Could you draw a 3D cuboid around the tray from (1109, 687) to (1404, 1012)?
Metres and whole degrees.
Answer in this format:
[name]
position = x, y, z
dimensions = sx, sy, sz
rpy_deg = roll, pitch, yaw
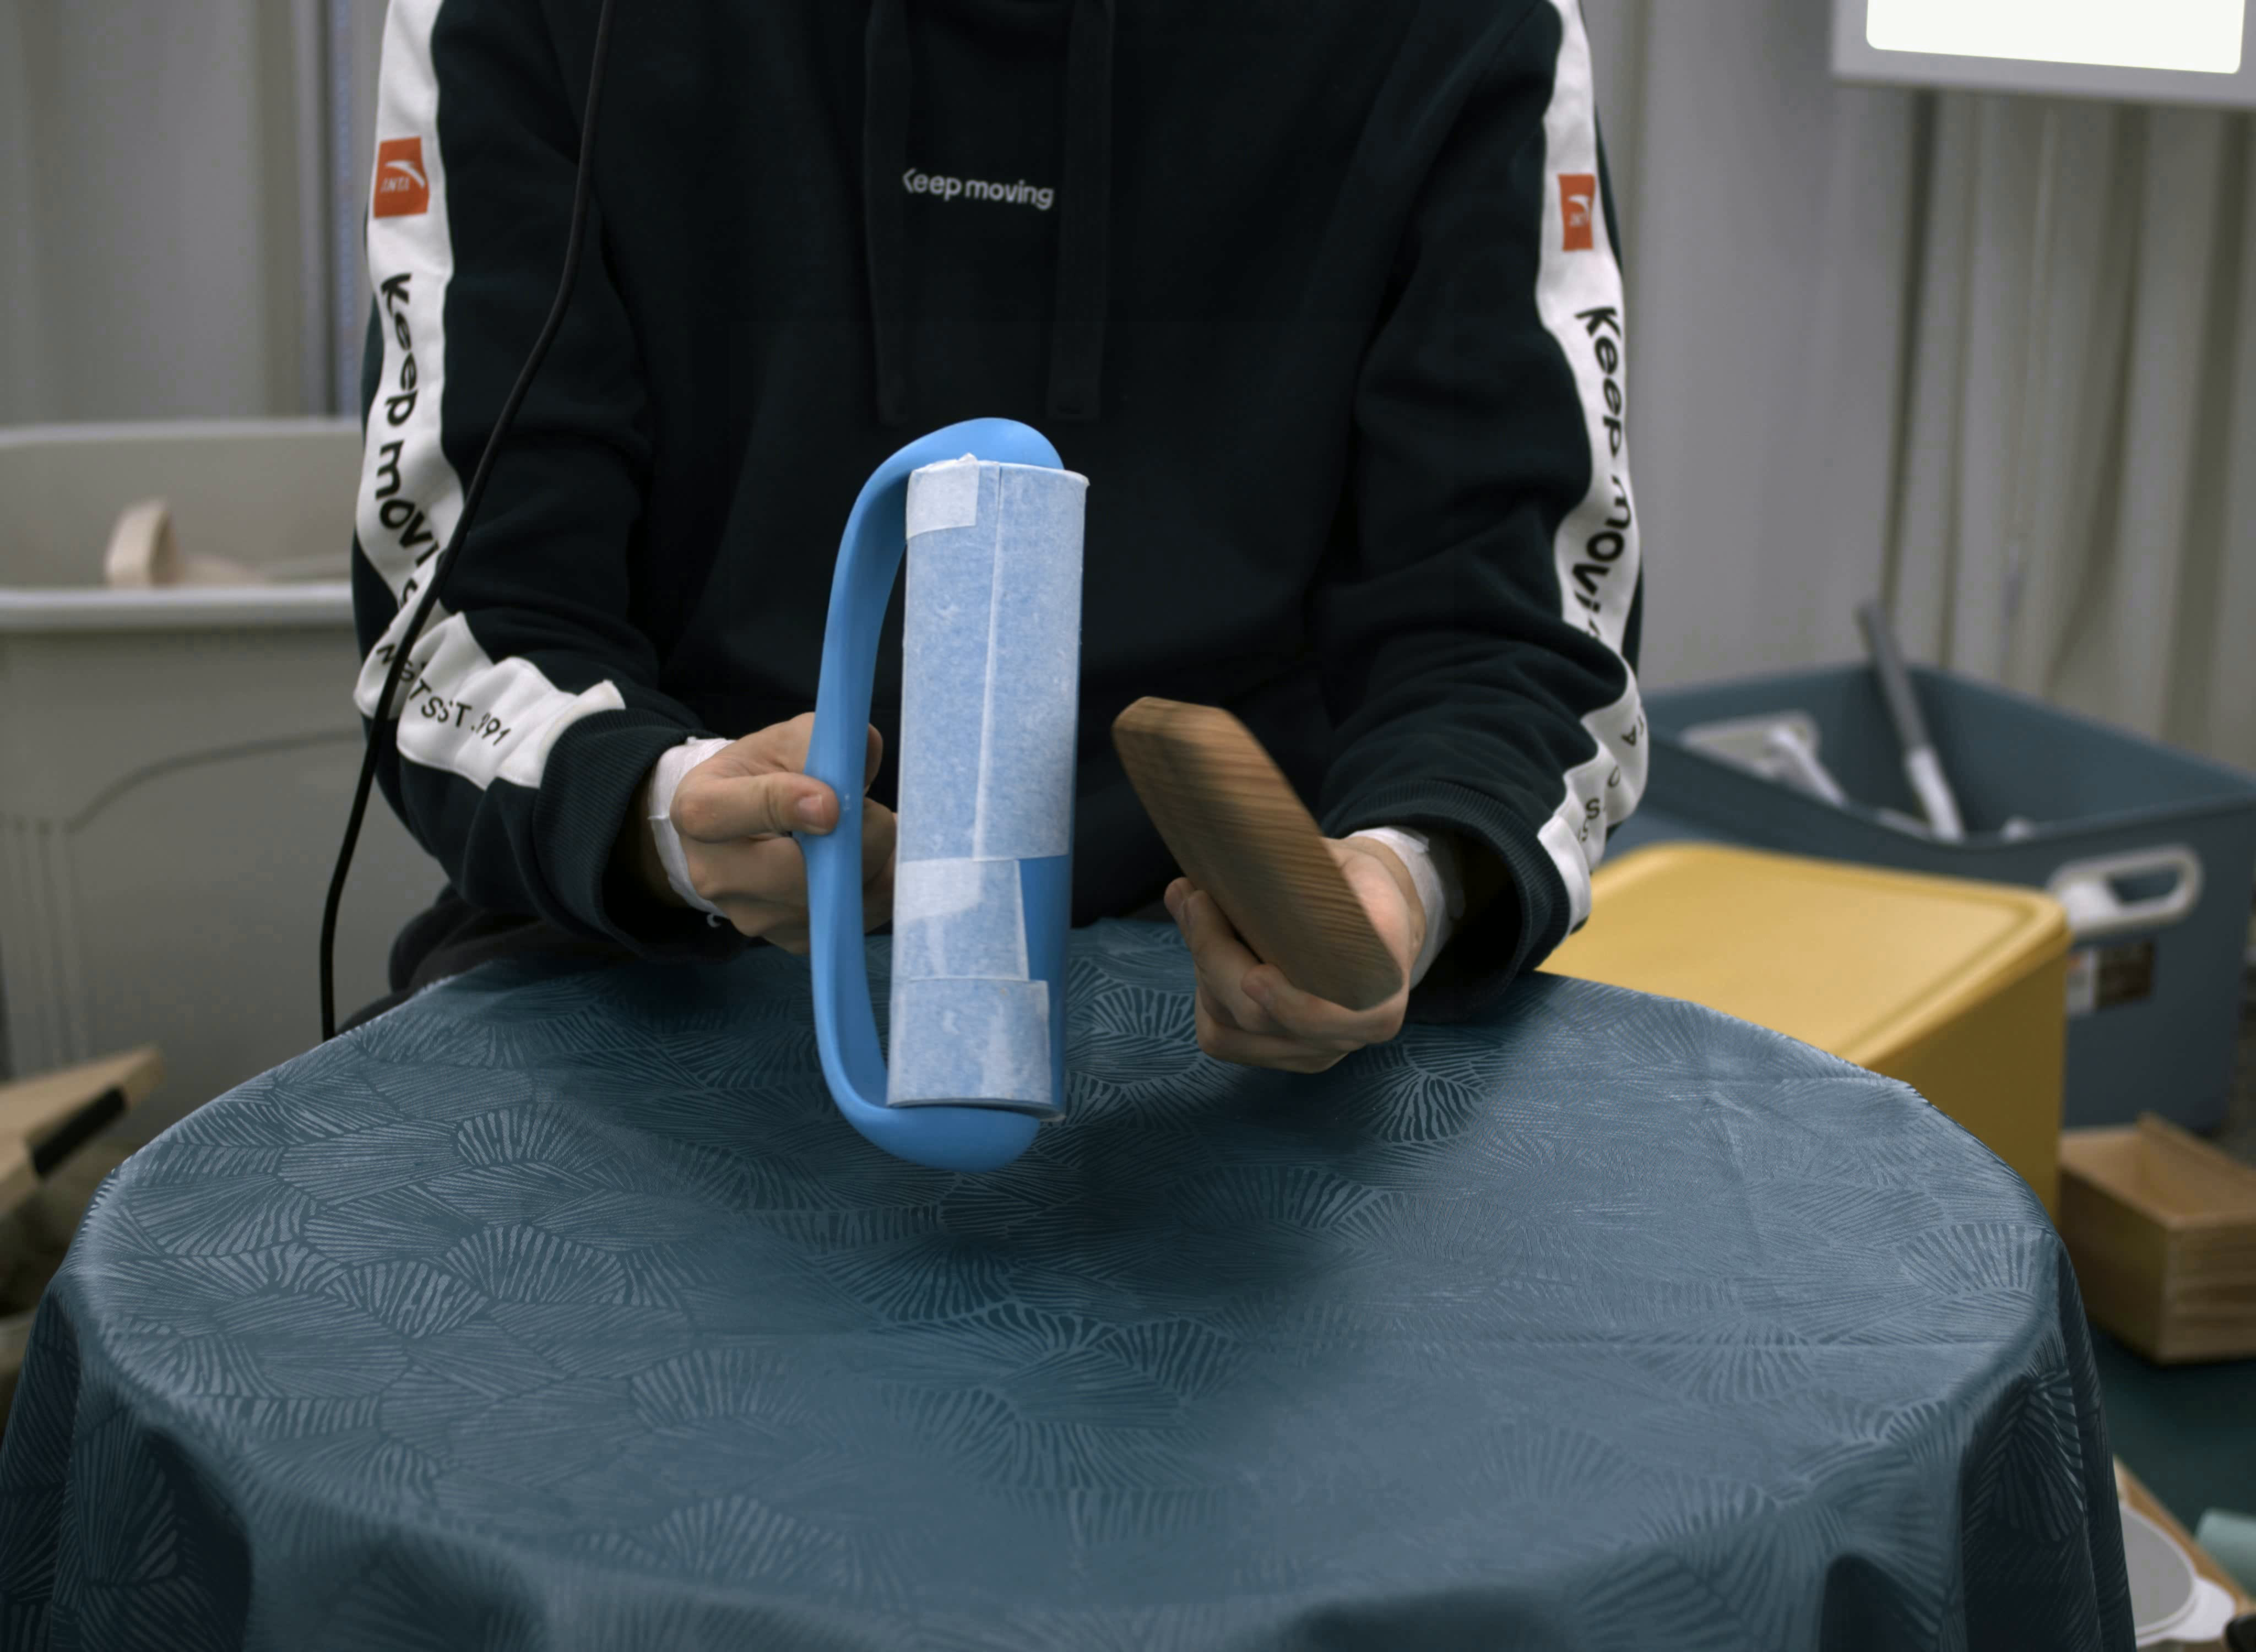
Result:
[tray]
position = 0.036, 0.006, 1.601
dimensions = 0.020, 0.102, 0.230
rpy_deg = -30, 8, -8

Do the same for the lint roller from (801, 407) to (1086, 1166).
[lint roller]
position = -0.070, -0.002, 1.622
dimensions = 0.068, 0.229, 0.179
rpy_deg = 5, -12, -26
